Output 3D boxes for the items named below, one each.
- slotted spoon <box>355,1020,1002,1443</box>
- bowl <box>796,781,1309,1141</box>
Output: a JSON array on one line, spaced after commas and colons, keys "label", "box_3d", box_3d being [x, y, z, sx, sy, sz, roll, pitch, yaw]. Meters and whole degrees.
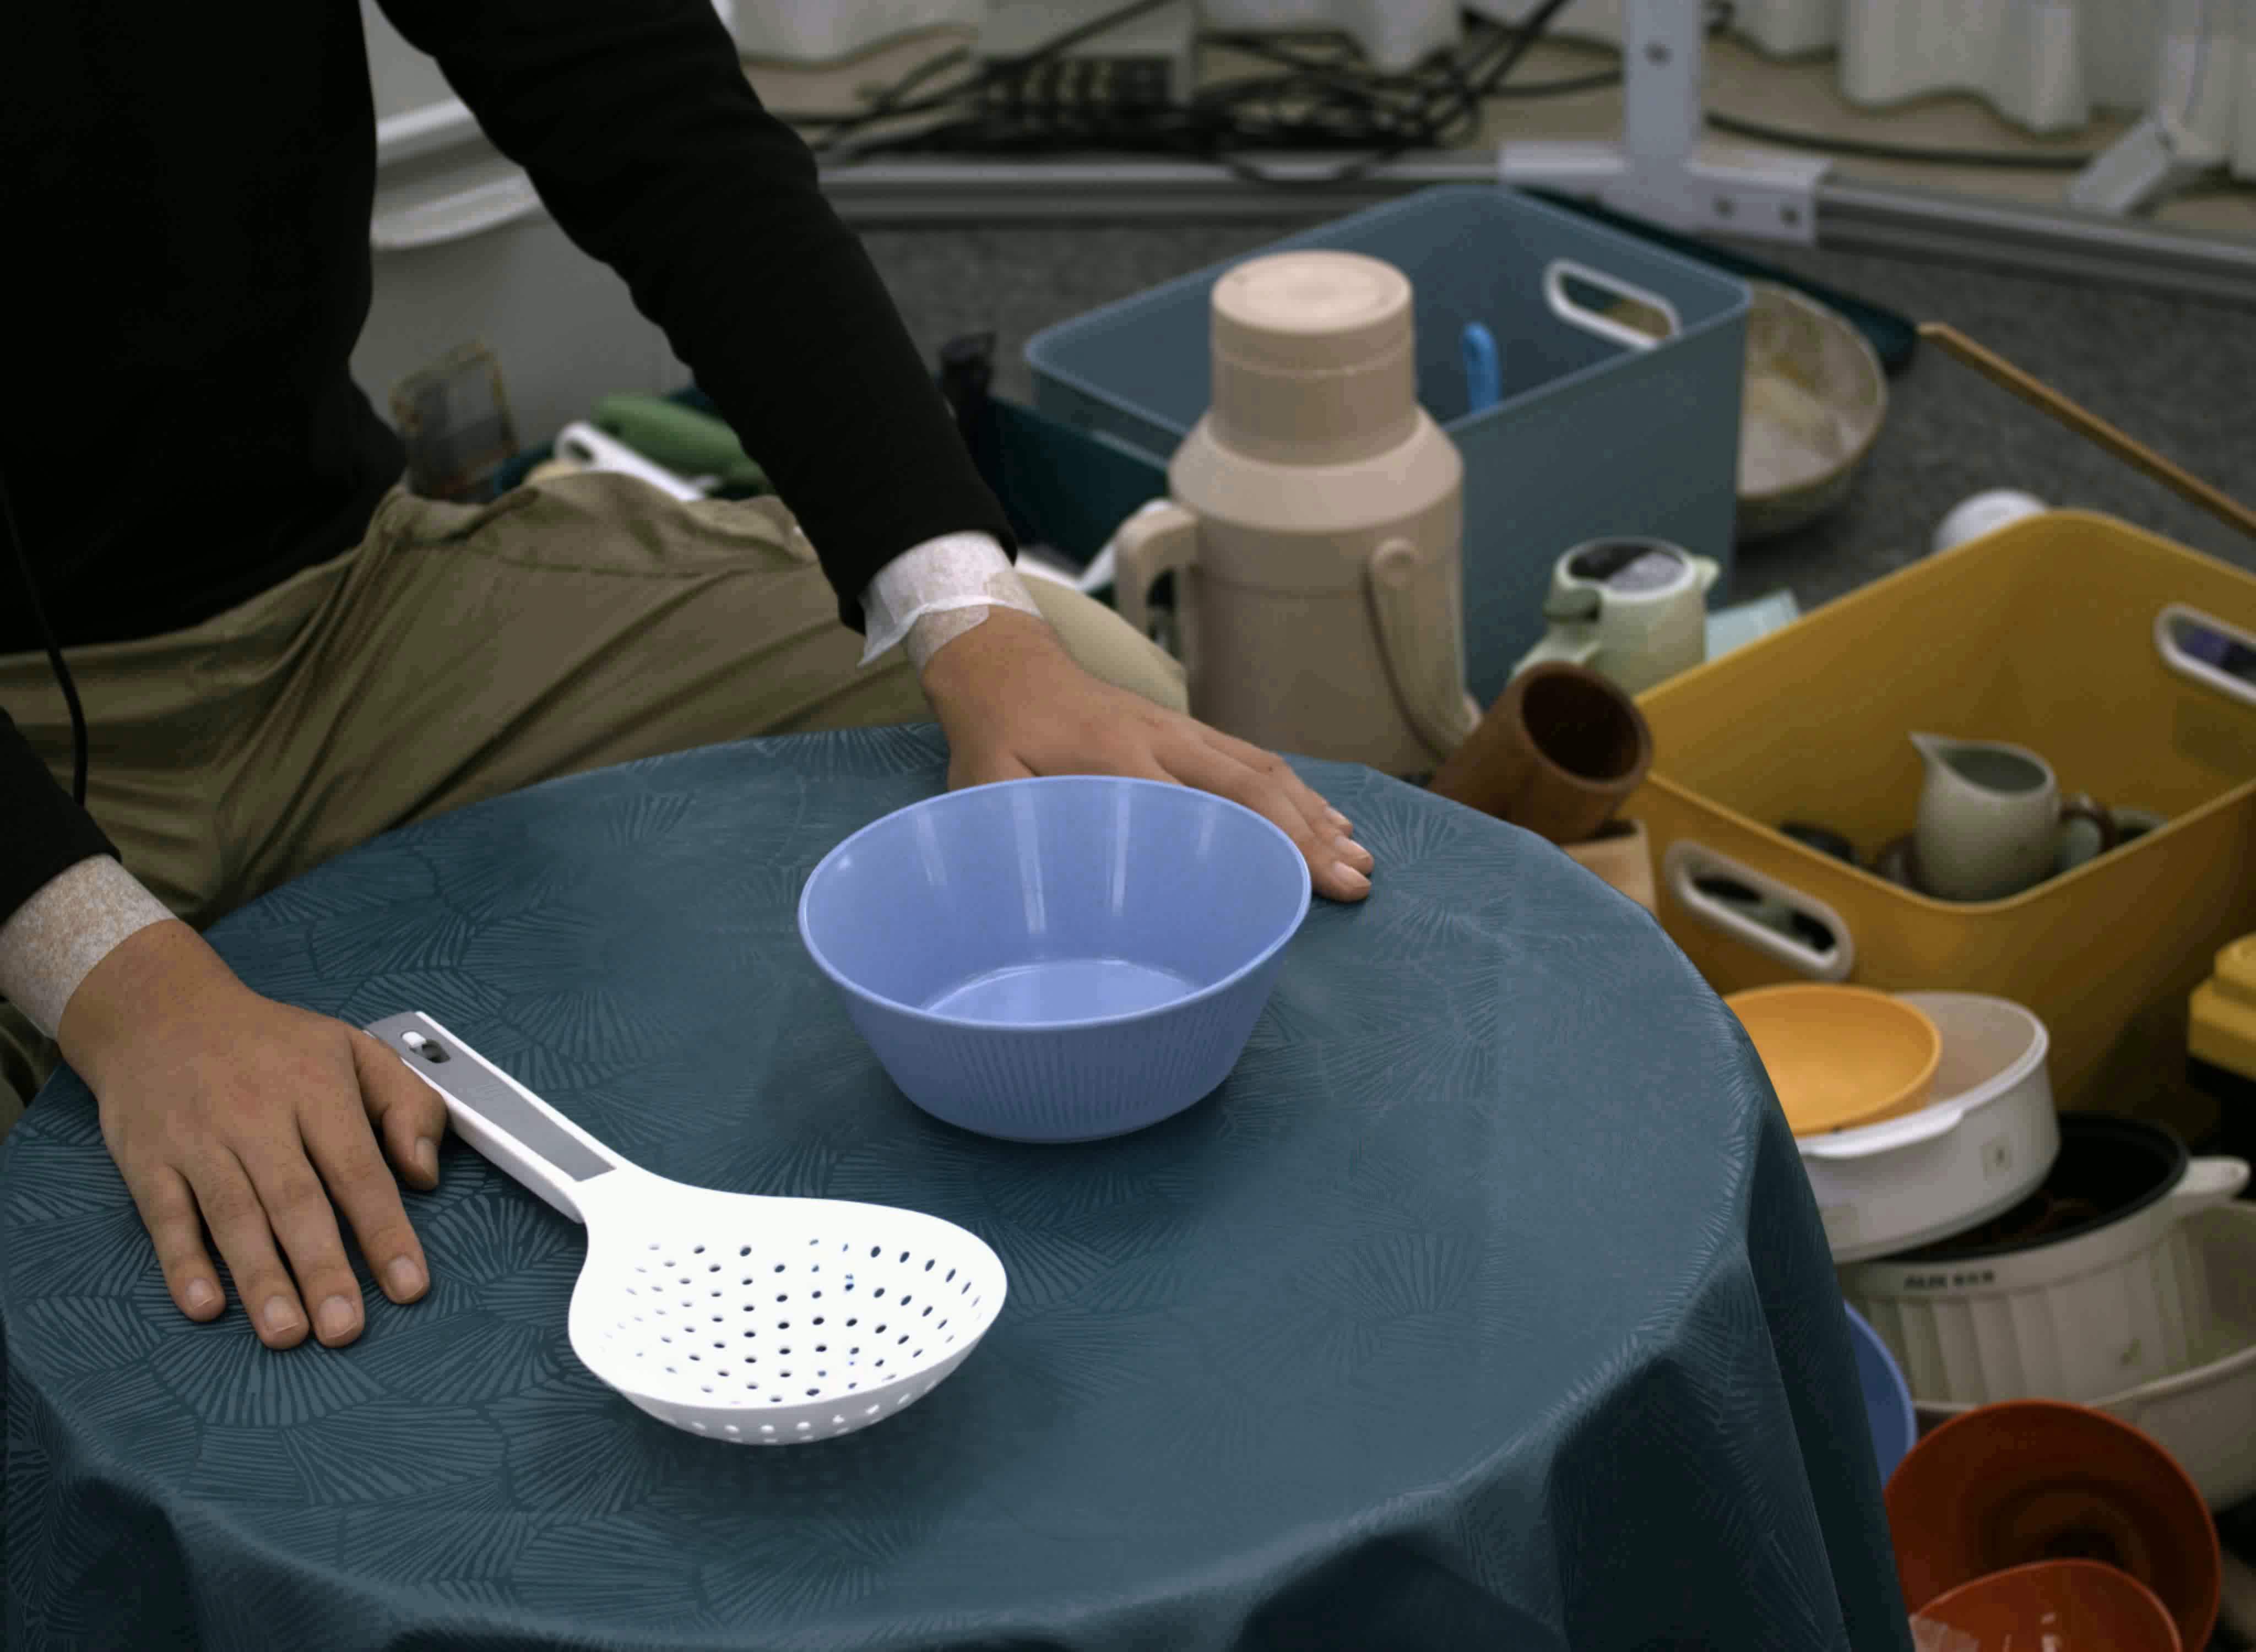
[{"label": "slotted spoon", "box_3d": [-0.165, 0.124, 1.824, 0.137, 0.045, 0.350, -19, 30, -29]}, {"label": "bowl", "box_3d": [-0.024, 0.051, 1.924, 0.175, 0.069, 0.179, -3, 26, 2]}]
